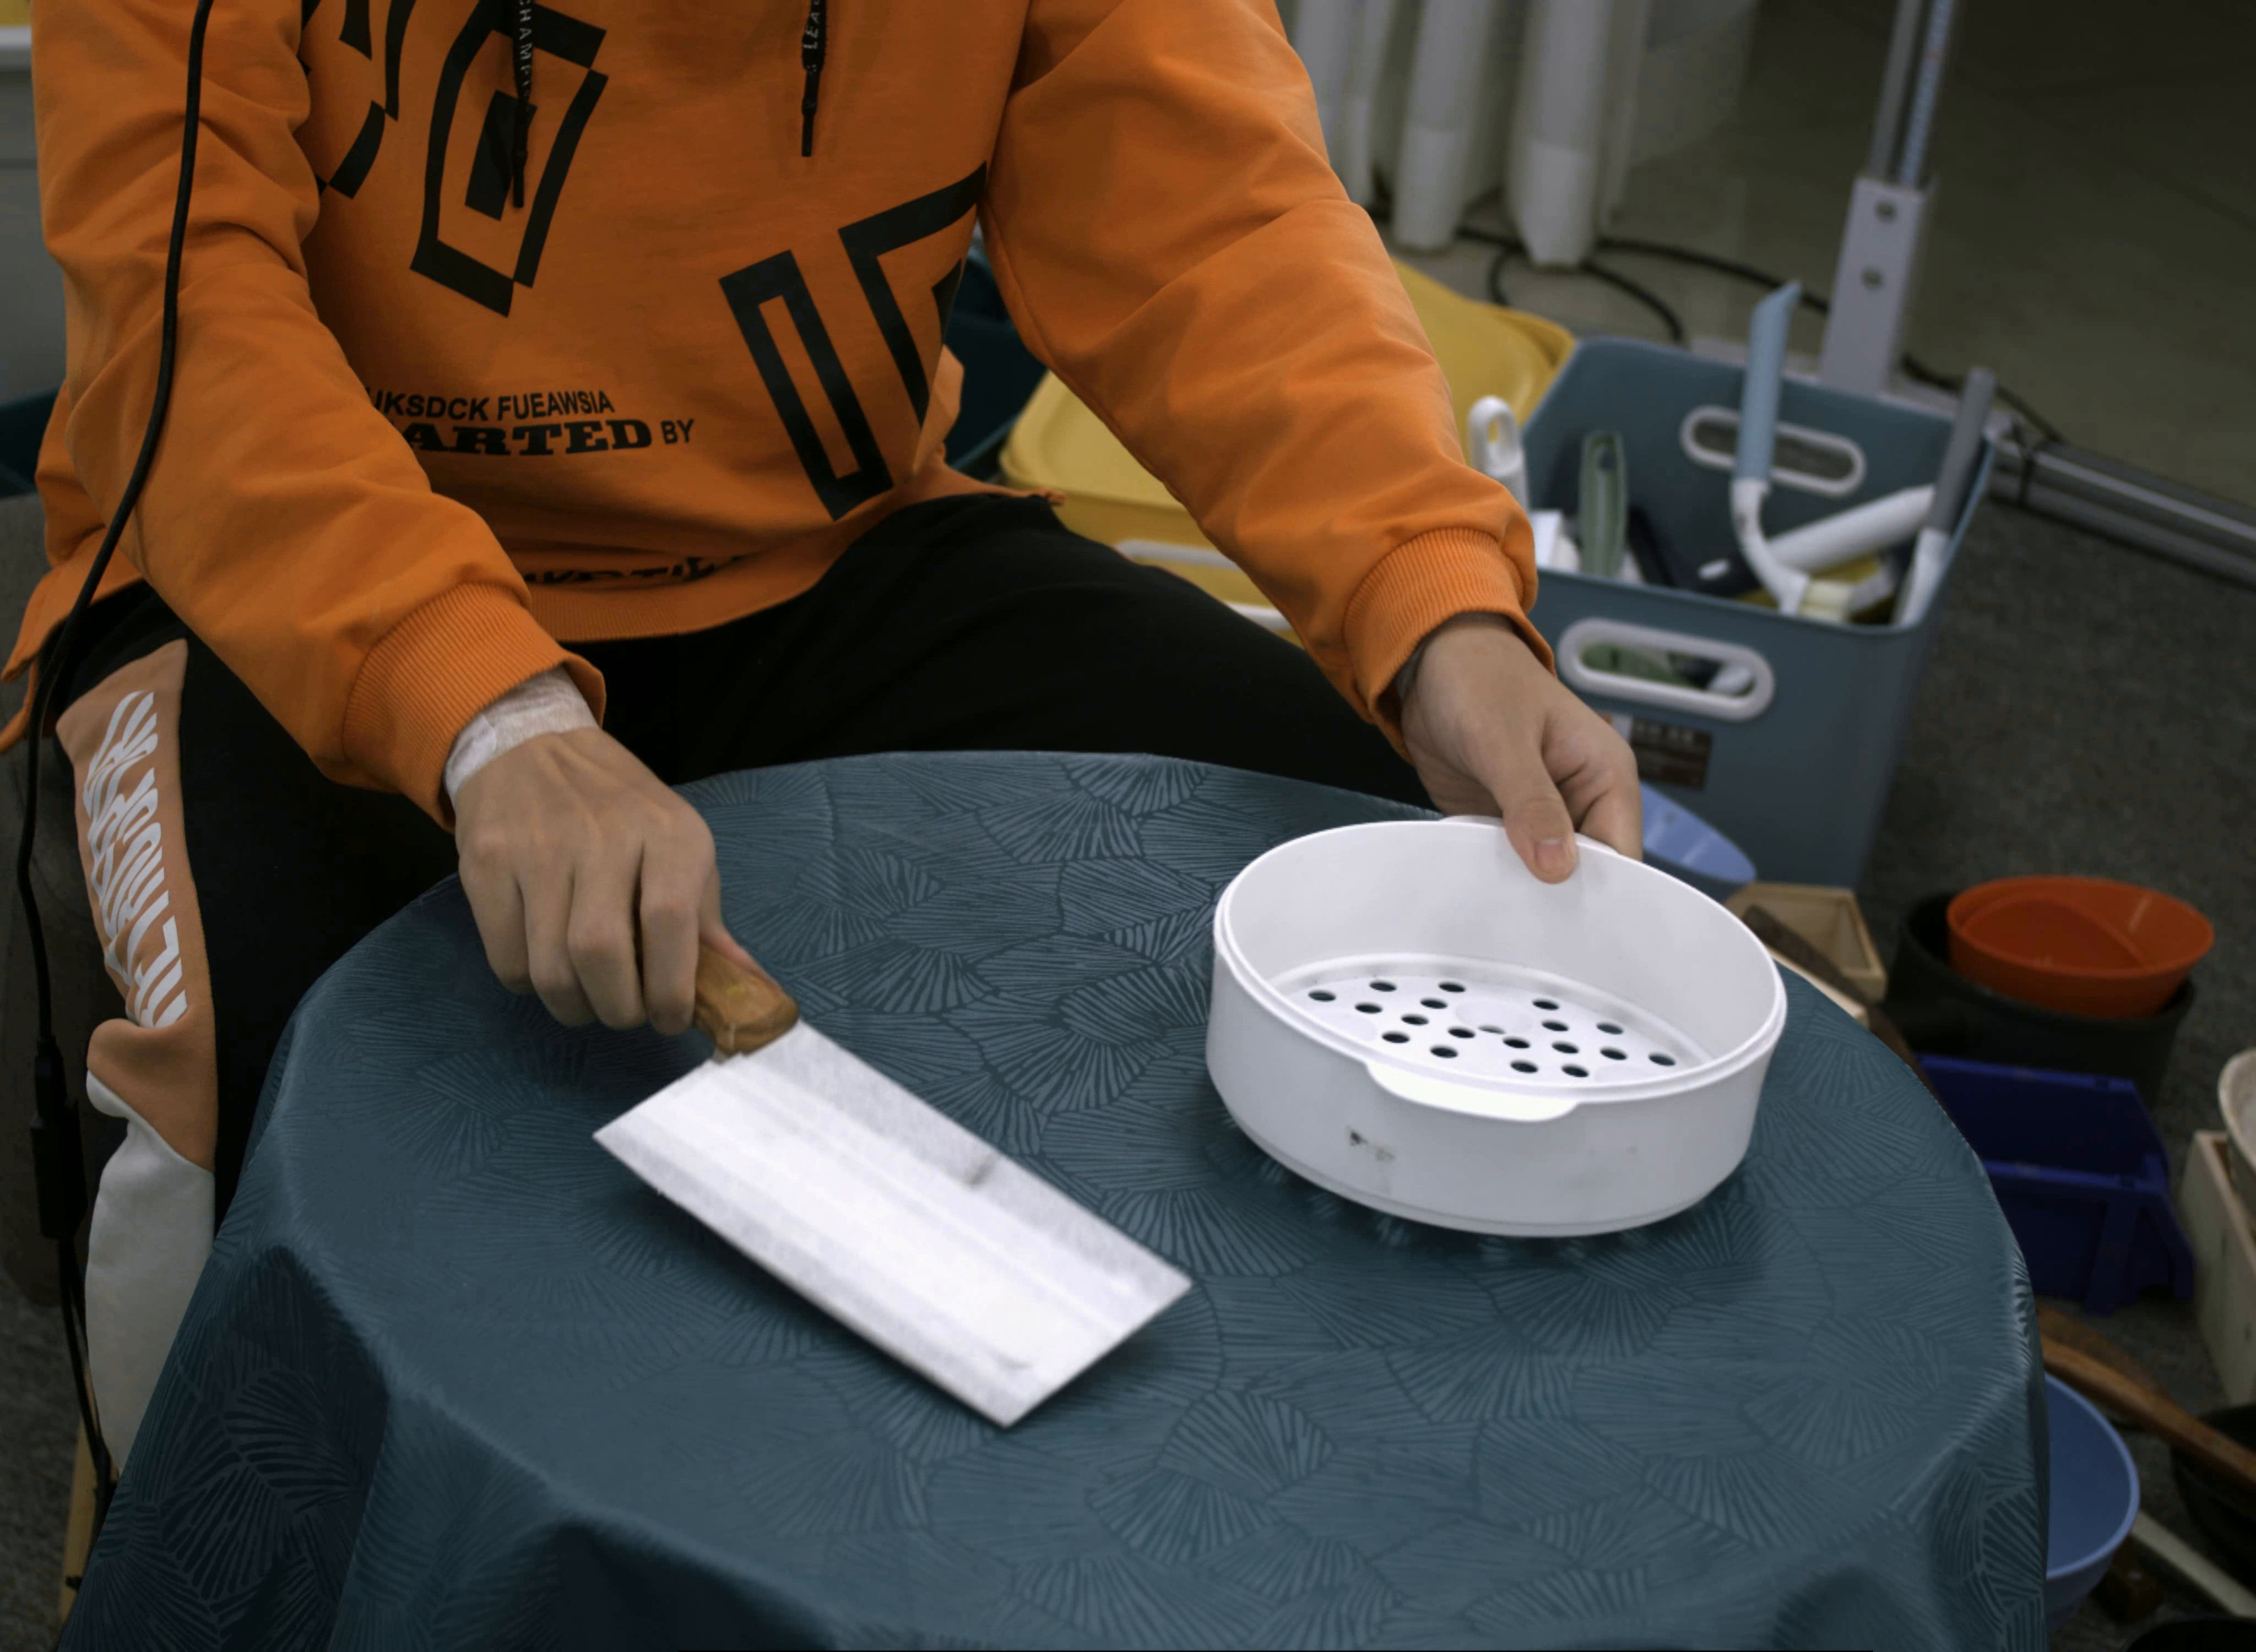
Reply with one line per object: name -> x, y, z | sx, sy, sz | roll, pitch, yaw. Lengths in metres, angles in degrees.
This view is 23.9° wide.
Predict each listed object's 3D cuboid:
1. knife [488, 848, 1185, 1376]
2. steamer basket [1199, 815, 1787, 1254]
knife -> -0.119, 0.096, 1.765 | 0.308, 0.021, 0.093 | 31, 48, 31
steamer basket -> 0.125, 0.074, 1.850 | 0.202, 0.069, 0.231 | 10, 28, 6
